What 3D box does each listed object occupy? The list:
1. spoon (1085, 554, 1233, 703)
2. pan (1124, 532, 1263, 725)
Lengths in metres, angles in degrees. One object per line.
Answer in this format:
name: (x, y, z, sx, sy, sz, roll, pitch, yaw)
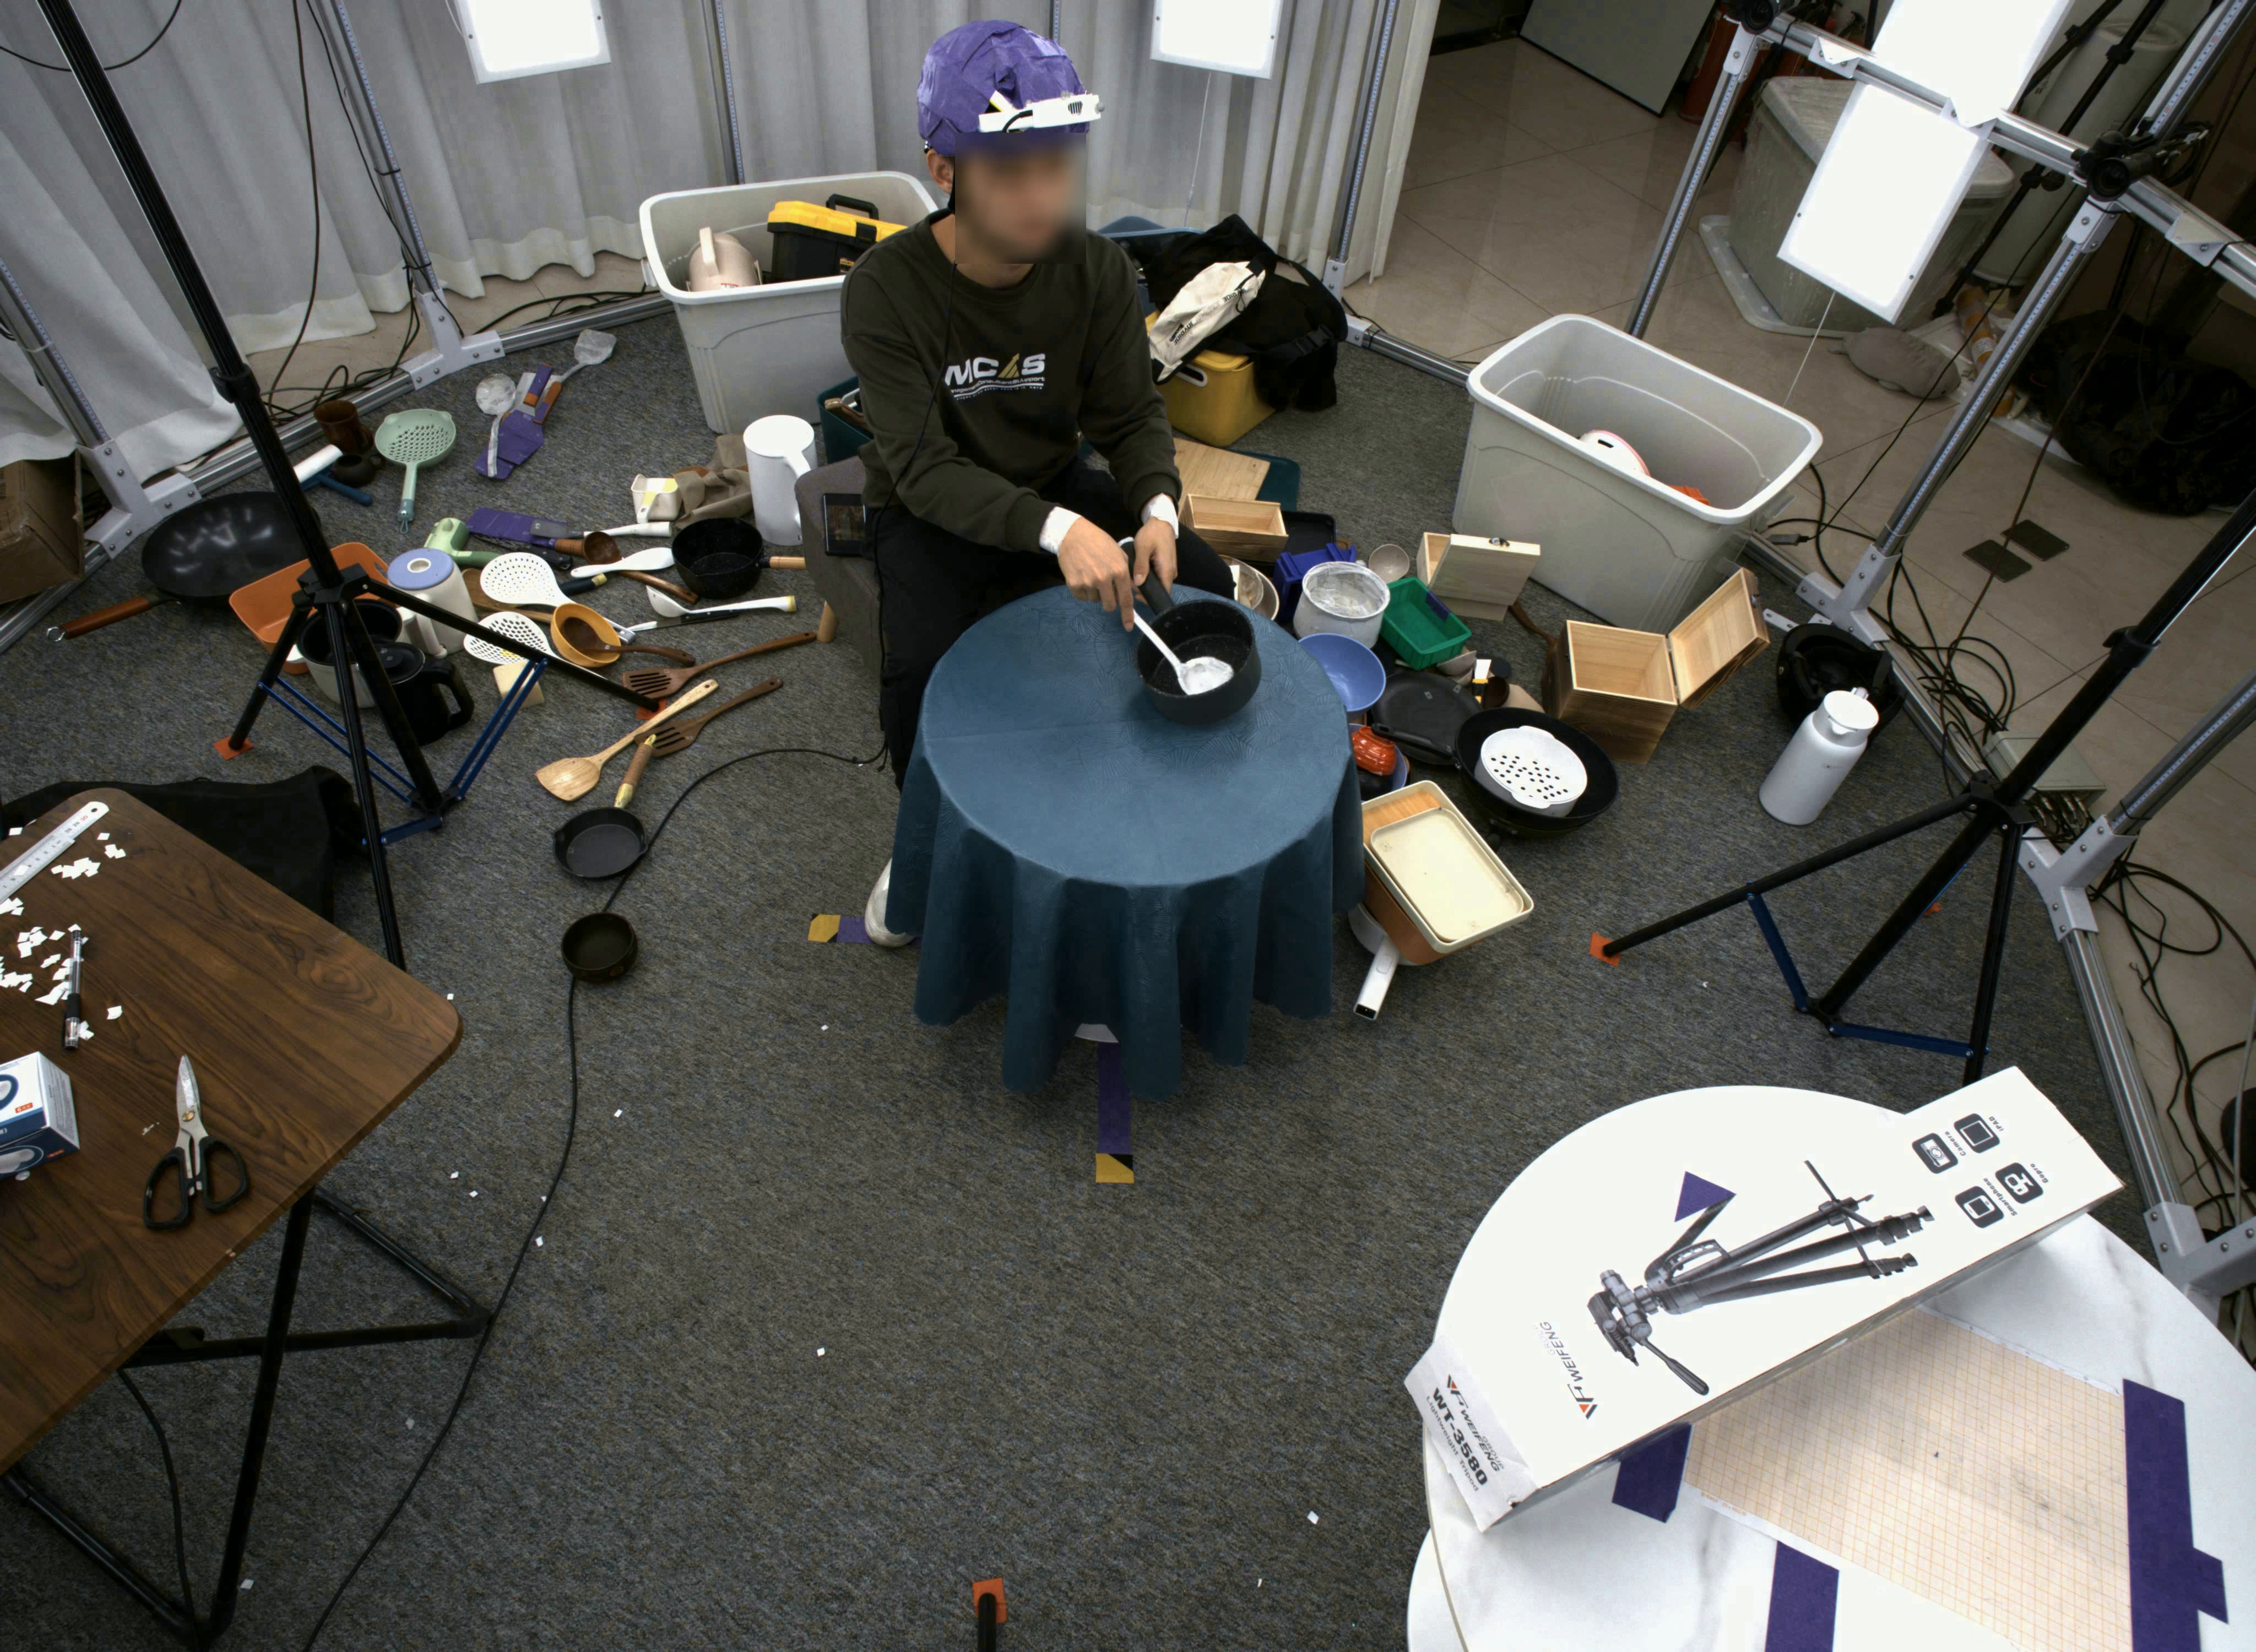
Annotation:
spoon: (0.050, -0.276, 1.759, 0.275, 0.059, 0.102, 49, 42, -13)
pan: (0.072, -0.287, 1.838, 0.172, 0.084, 0.336, -26, 54, 0)
